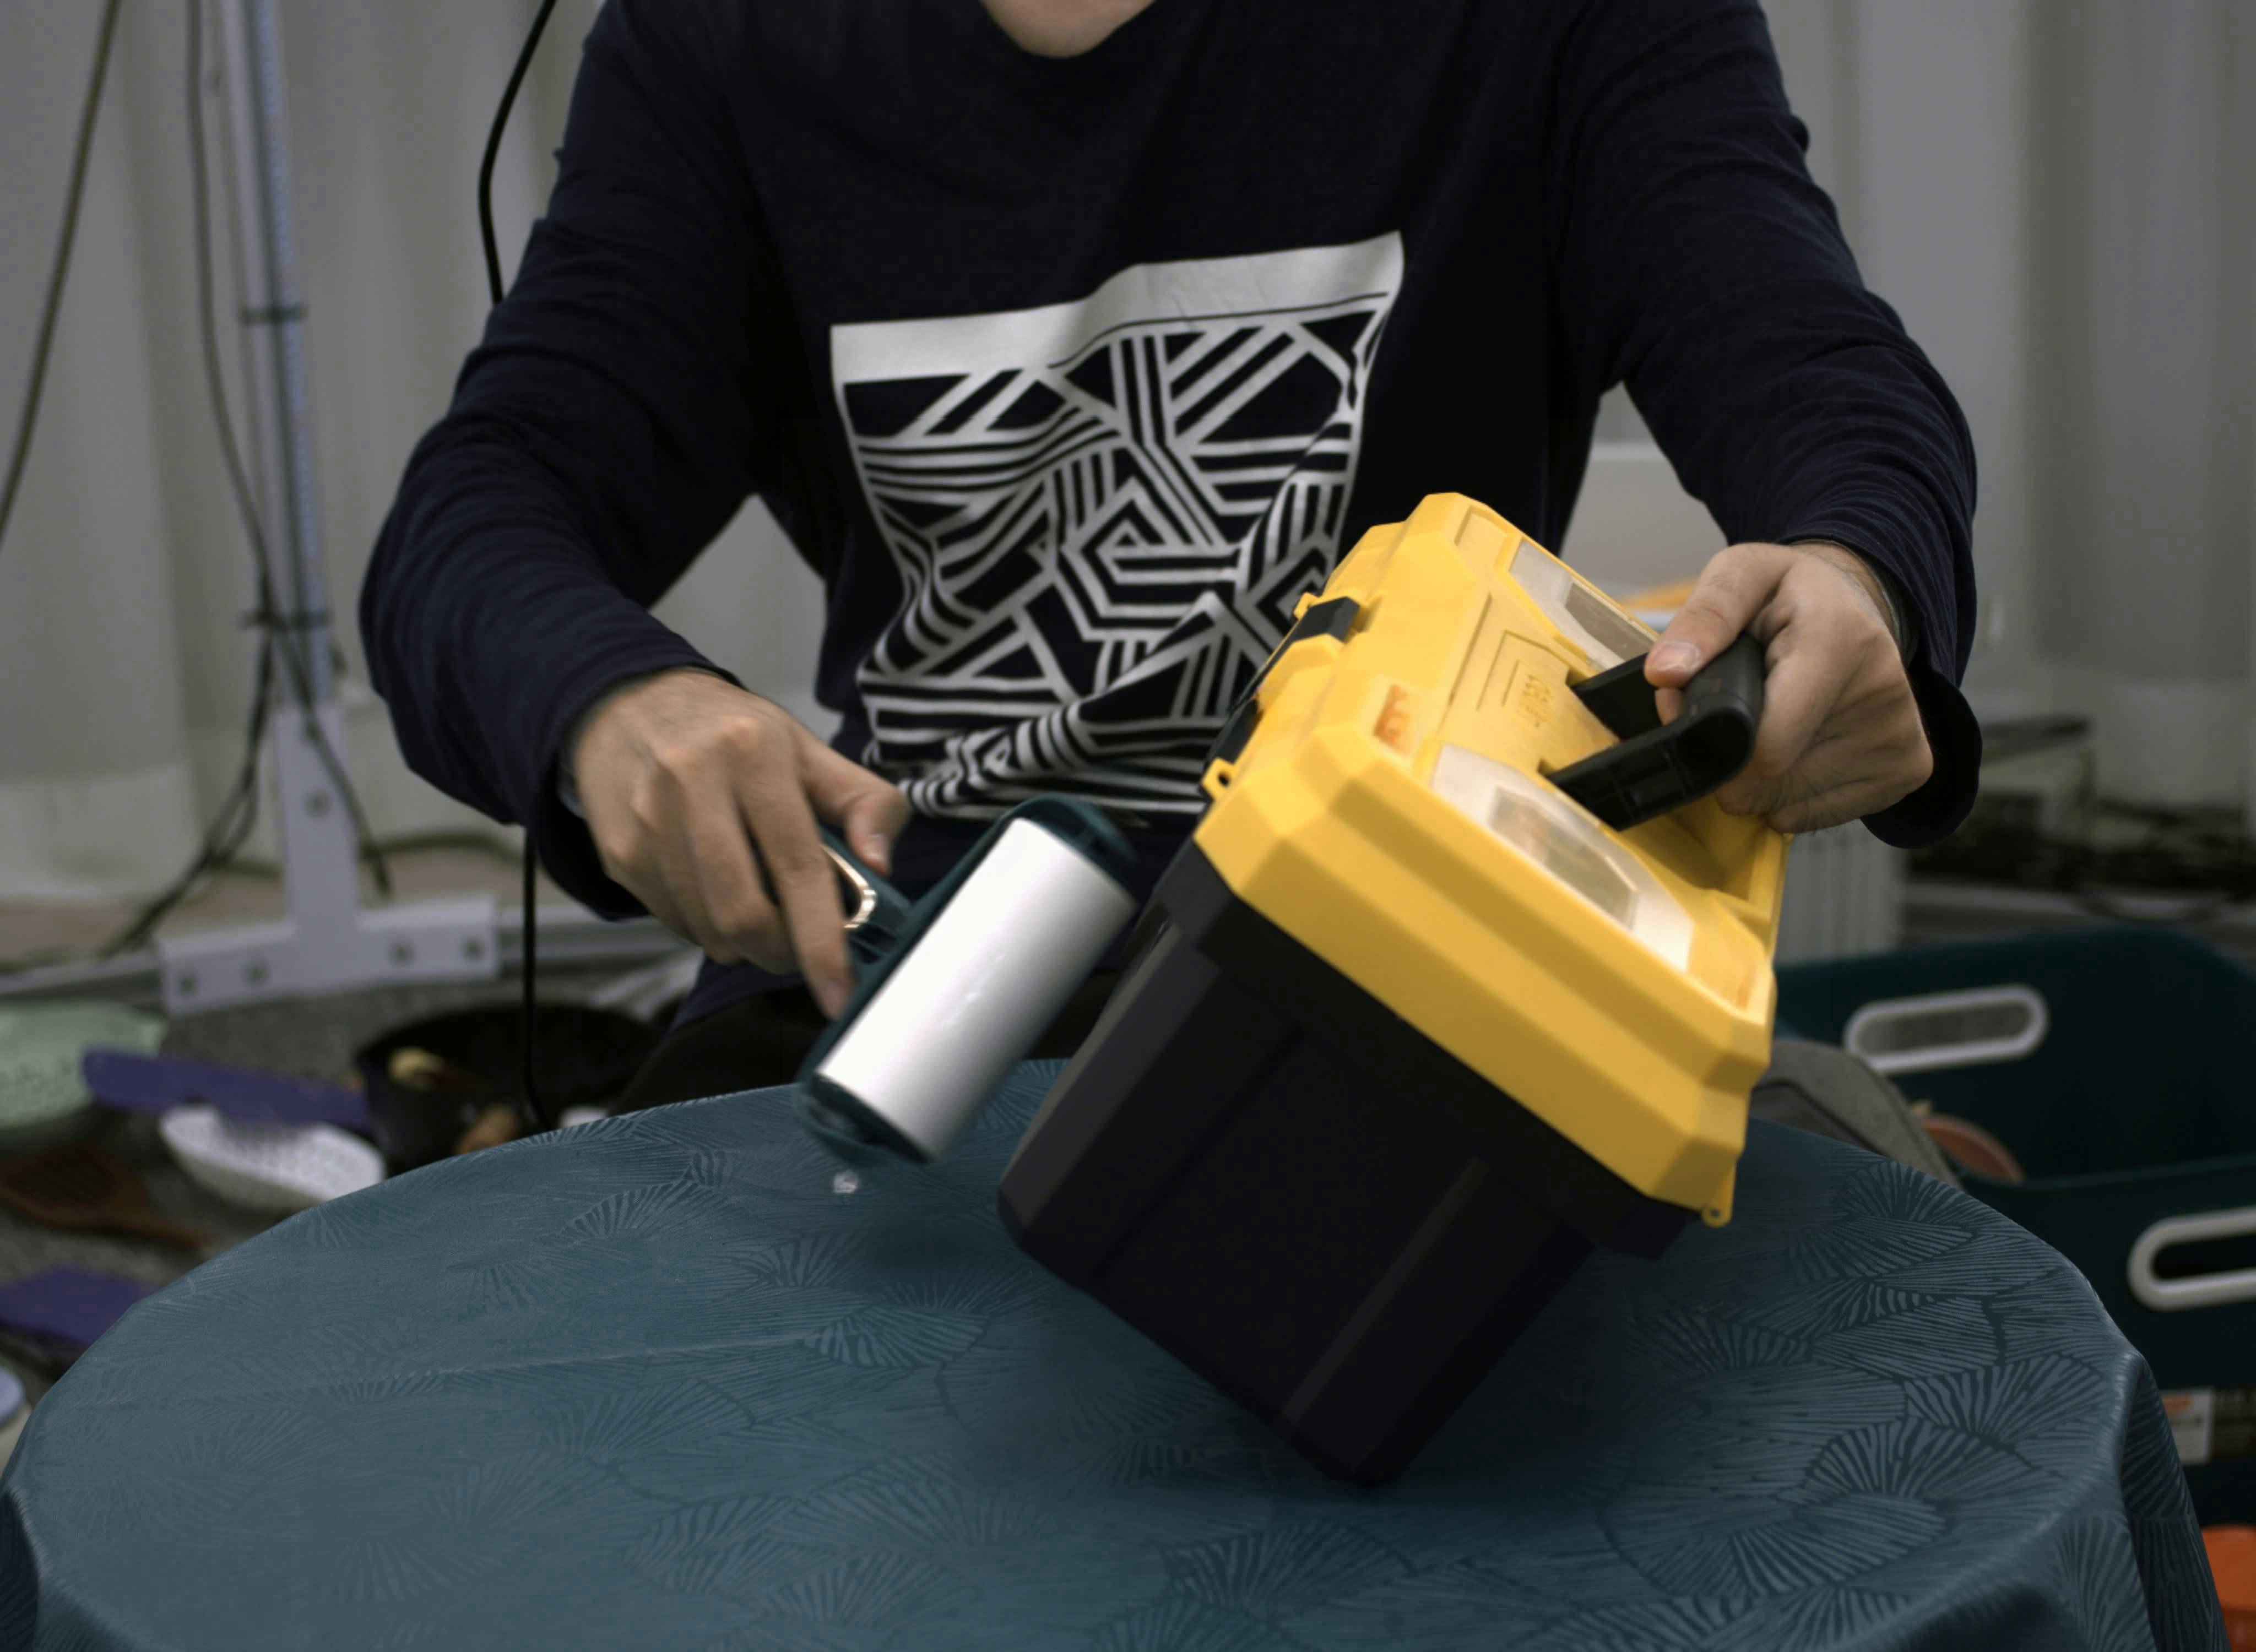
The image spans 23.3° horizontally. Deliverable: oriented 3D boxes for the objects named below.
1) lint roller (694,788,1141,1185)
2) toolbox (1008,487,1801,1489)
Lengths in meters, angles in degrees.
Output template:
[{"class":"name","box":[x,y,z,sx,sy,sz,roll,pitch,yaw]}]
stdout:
[{"class":"lint roller","box":[-0.087,0.025,1.706,0.182,0.135,0.047,28,-12,41]},{"class":"toolbox","box":[0.084,0.038,1.580,0.181,0.172,0.353,36,17,-2]}]
